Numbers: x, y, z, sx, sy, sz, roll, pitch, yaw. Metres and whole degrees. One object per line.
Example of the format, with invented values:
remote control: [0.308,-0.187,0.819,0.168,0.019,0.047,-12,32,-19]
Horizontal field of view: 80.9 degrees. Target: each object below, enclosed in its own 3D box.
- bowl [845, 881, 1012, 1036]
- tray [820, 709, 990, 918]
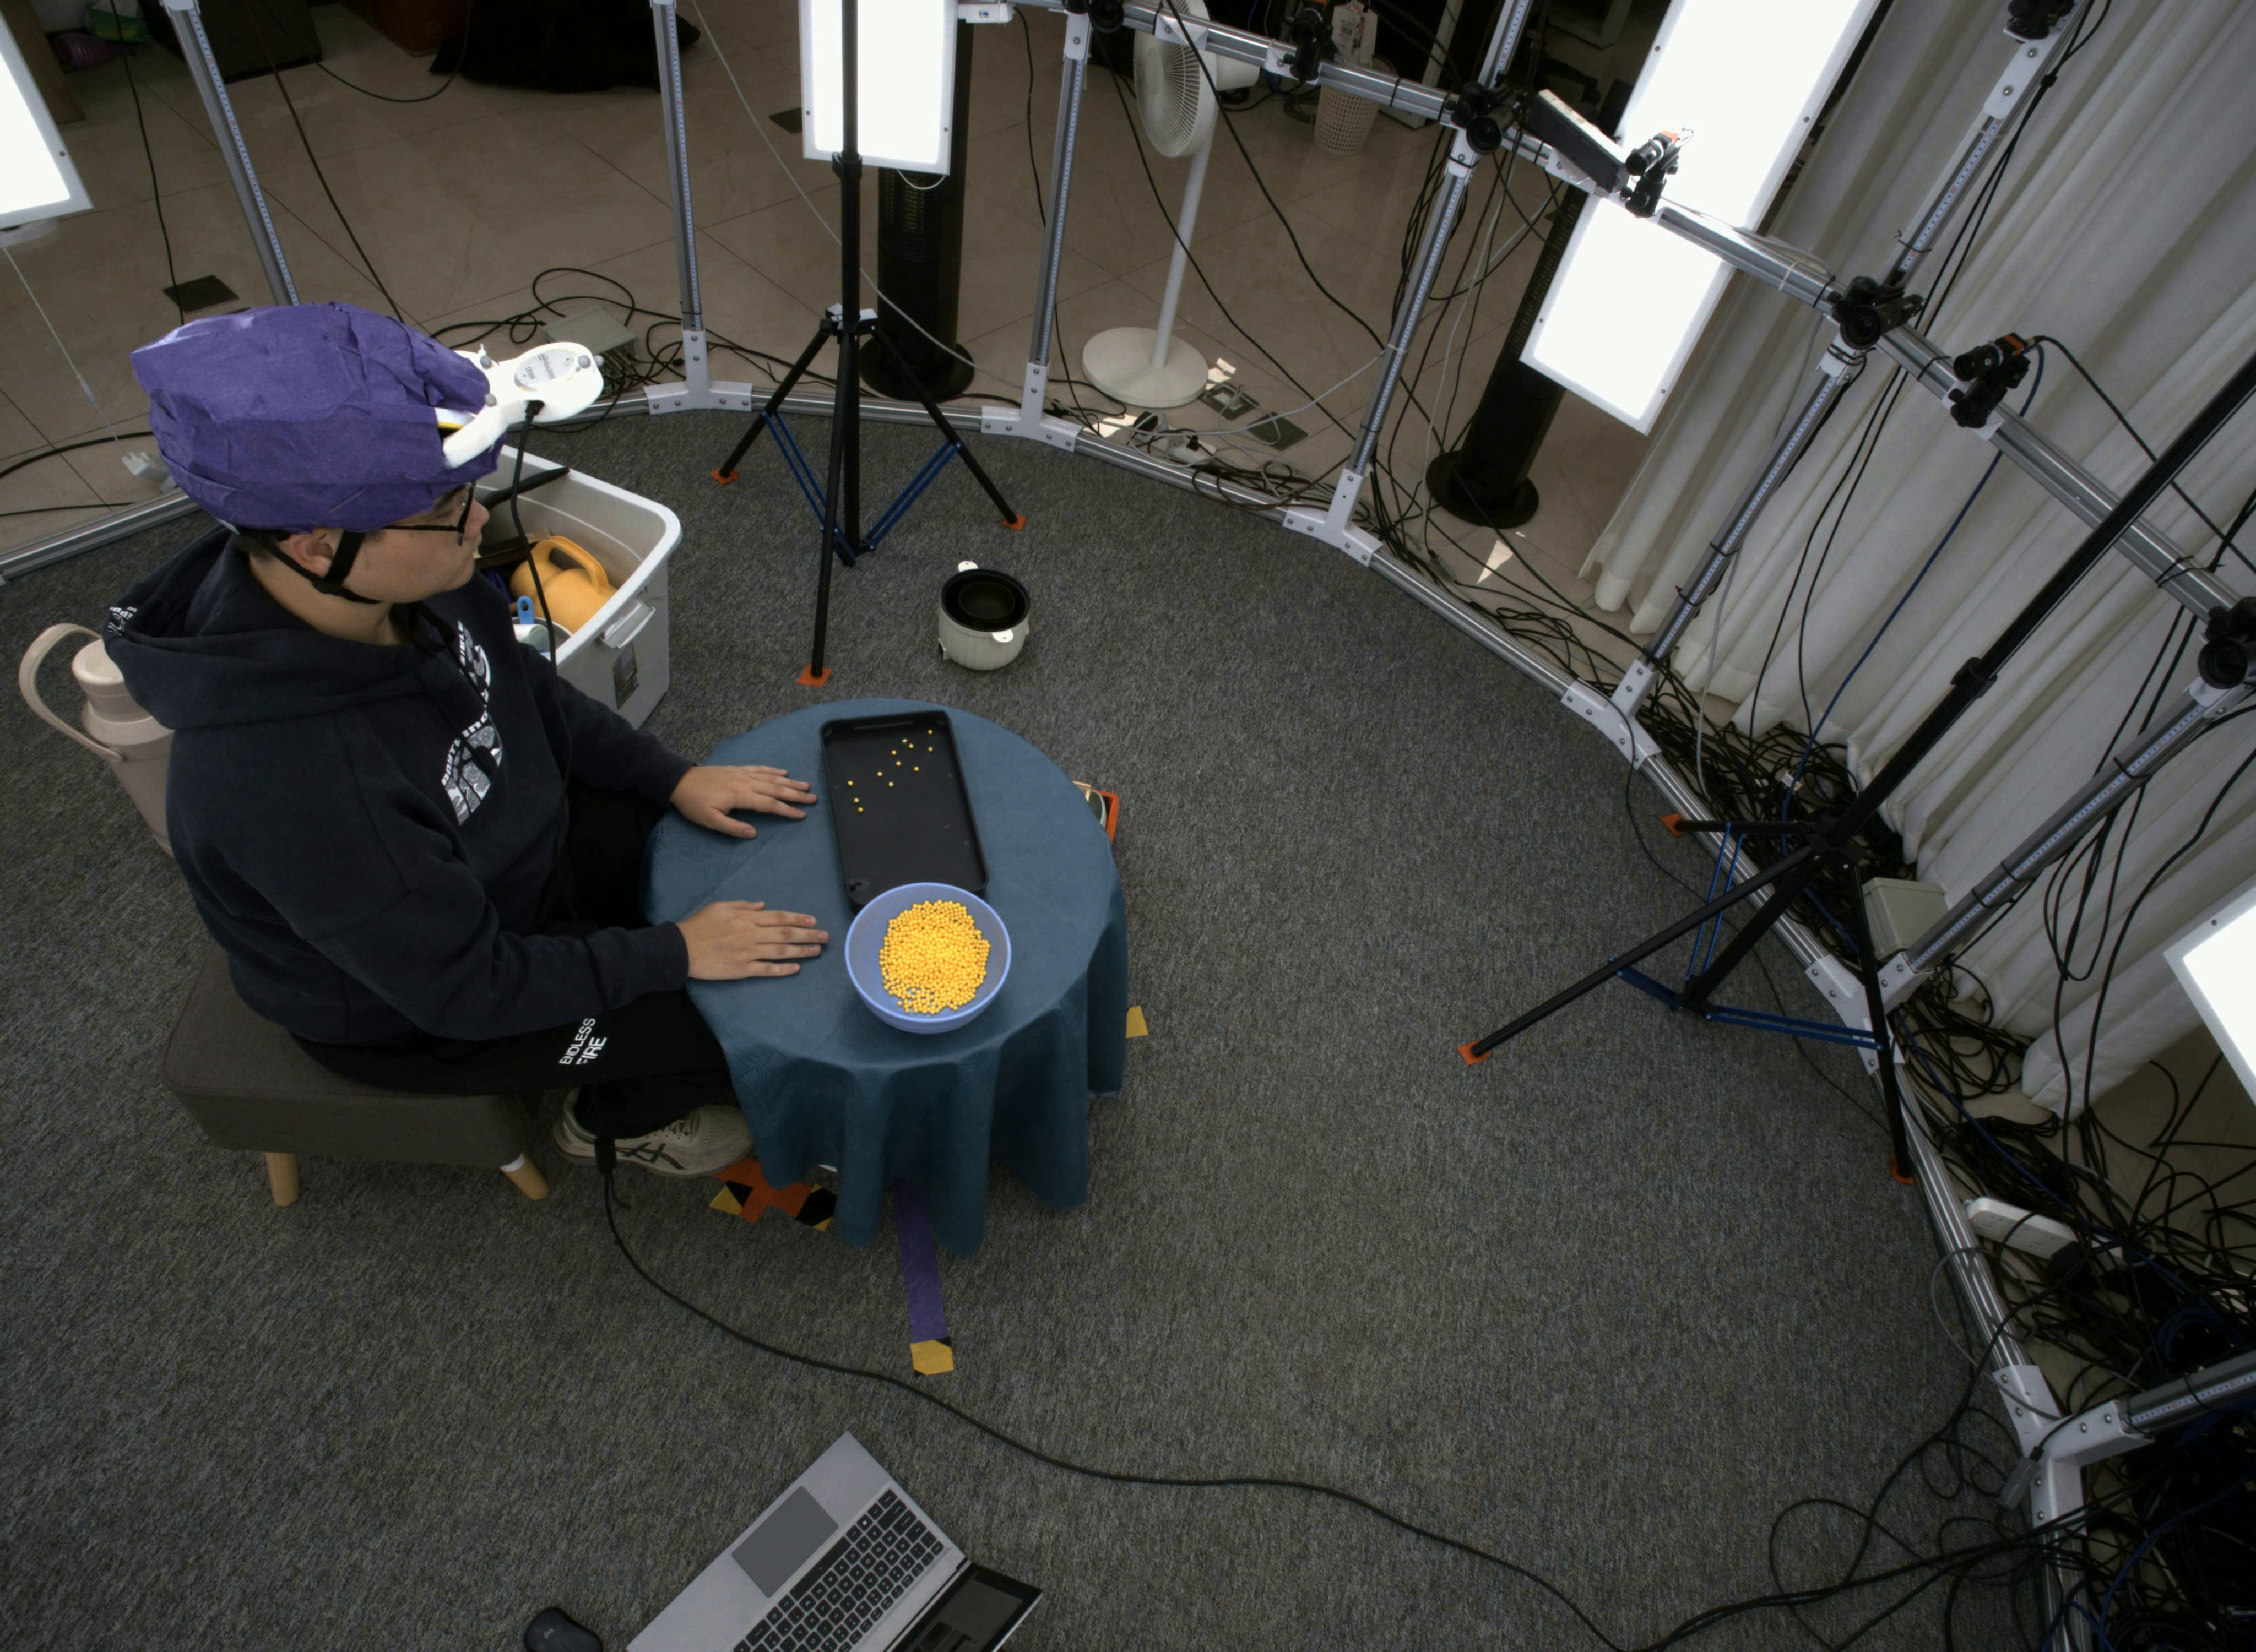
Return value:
bowl: [-0.242,0.173,1.575,0.196,0.097,0.193,7,53,-8]
tray: [-0.303,-0.023,1.744,0.185,0.038,0.310,-6,55,-18]
